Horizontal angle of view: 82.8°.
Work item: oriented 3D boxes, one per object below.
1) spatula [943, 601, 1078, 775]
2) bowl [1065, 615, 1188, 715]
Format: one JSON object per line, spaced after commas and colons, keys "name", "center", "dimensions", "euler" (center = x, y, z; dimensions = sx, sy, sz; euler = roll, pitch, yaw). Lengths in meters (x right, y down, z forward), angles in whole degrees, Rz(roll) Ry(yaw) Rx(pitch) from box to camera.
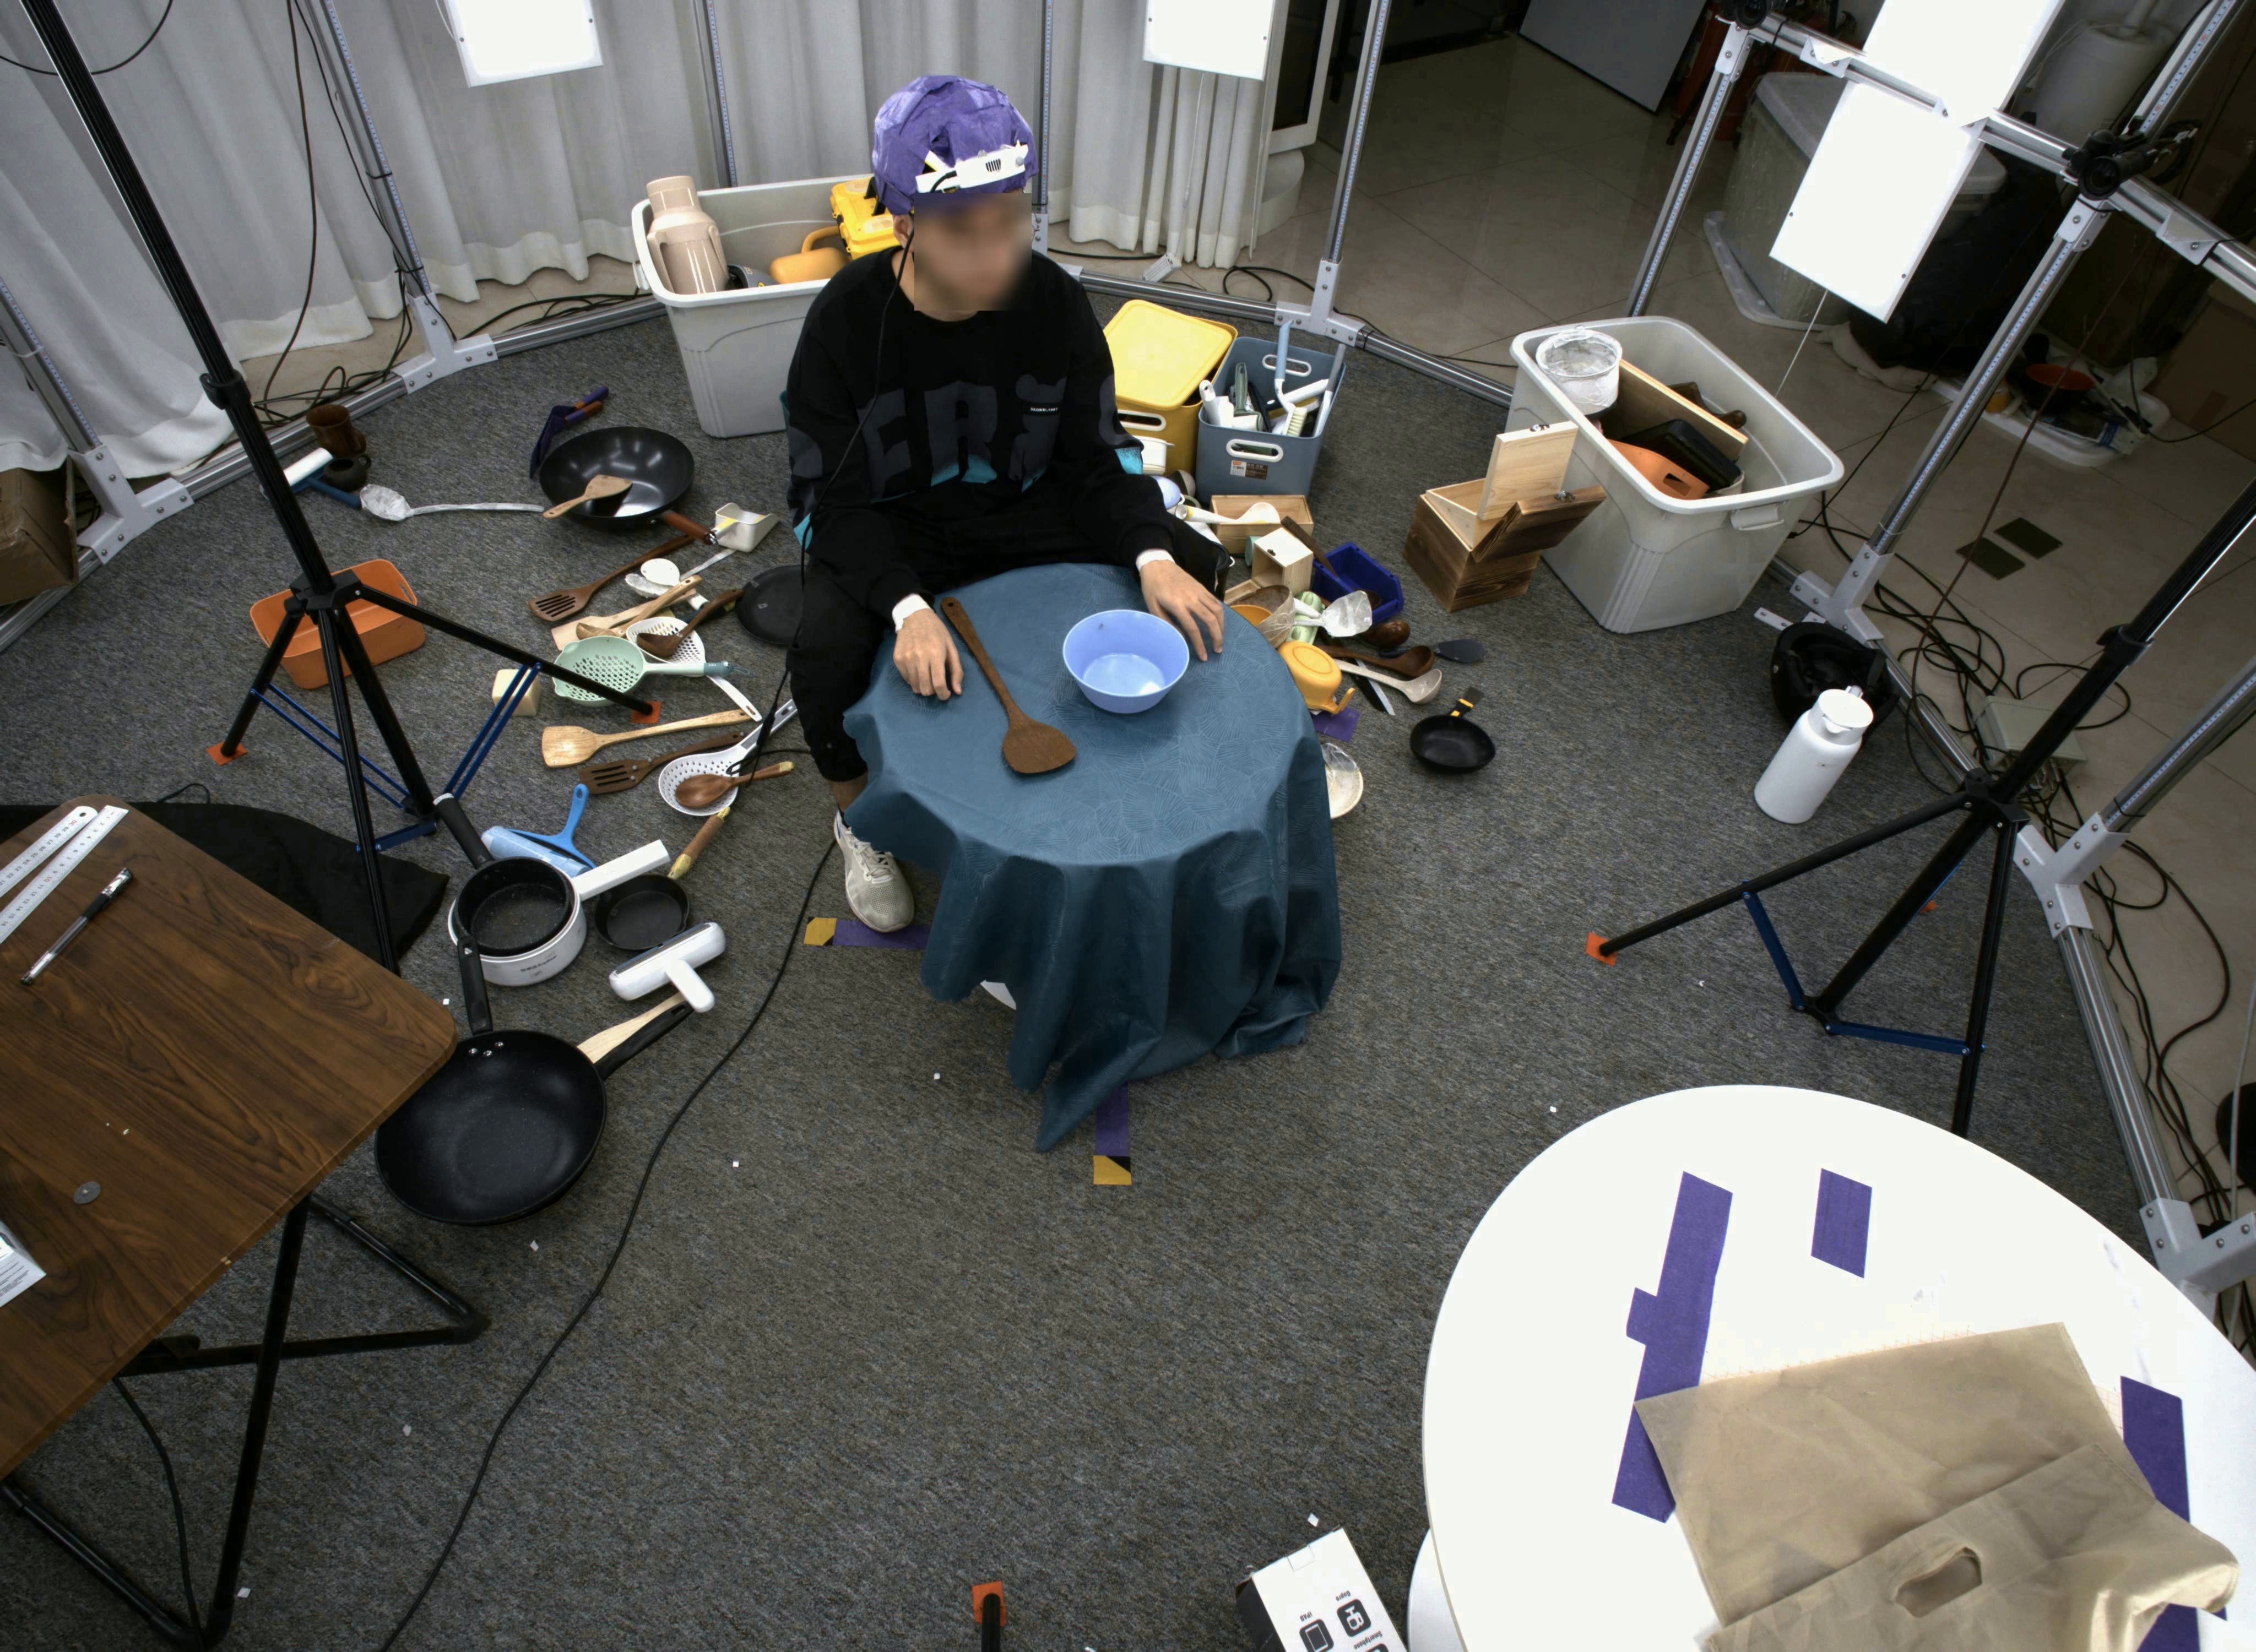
{"name": "spatula", "center": [-0.187, -0.208, 1.844], "dimensions": [0.096, 0.015, 0.394], "euler": [-18, 52, -19]}
{"name": "bowl", "center": [-0.003, -0.221, 1.832], "dimensions": [0.176, 0.068, 0.180], "euler": [2, 47, -2]}
